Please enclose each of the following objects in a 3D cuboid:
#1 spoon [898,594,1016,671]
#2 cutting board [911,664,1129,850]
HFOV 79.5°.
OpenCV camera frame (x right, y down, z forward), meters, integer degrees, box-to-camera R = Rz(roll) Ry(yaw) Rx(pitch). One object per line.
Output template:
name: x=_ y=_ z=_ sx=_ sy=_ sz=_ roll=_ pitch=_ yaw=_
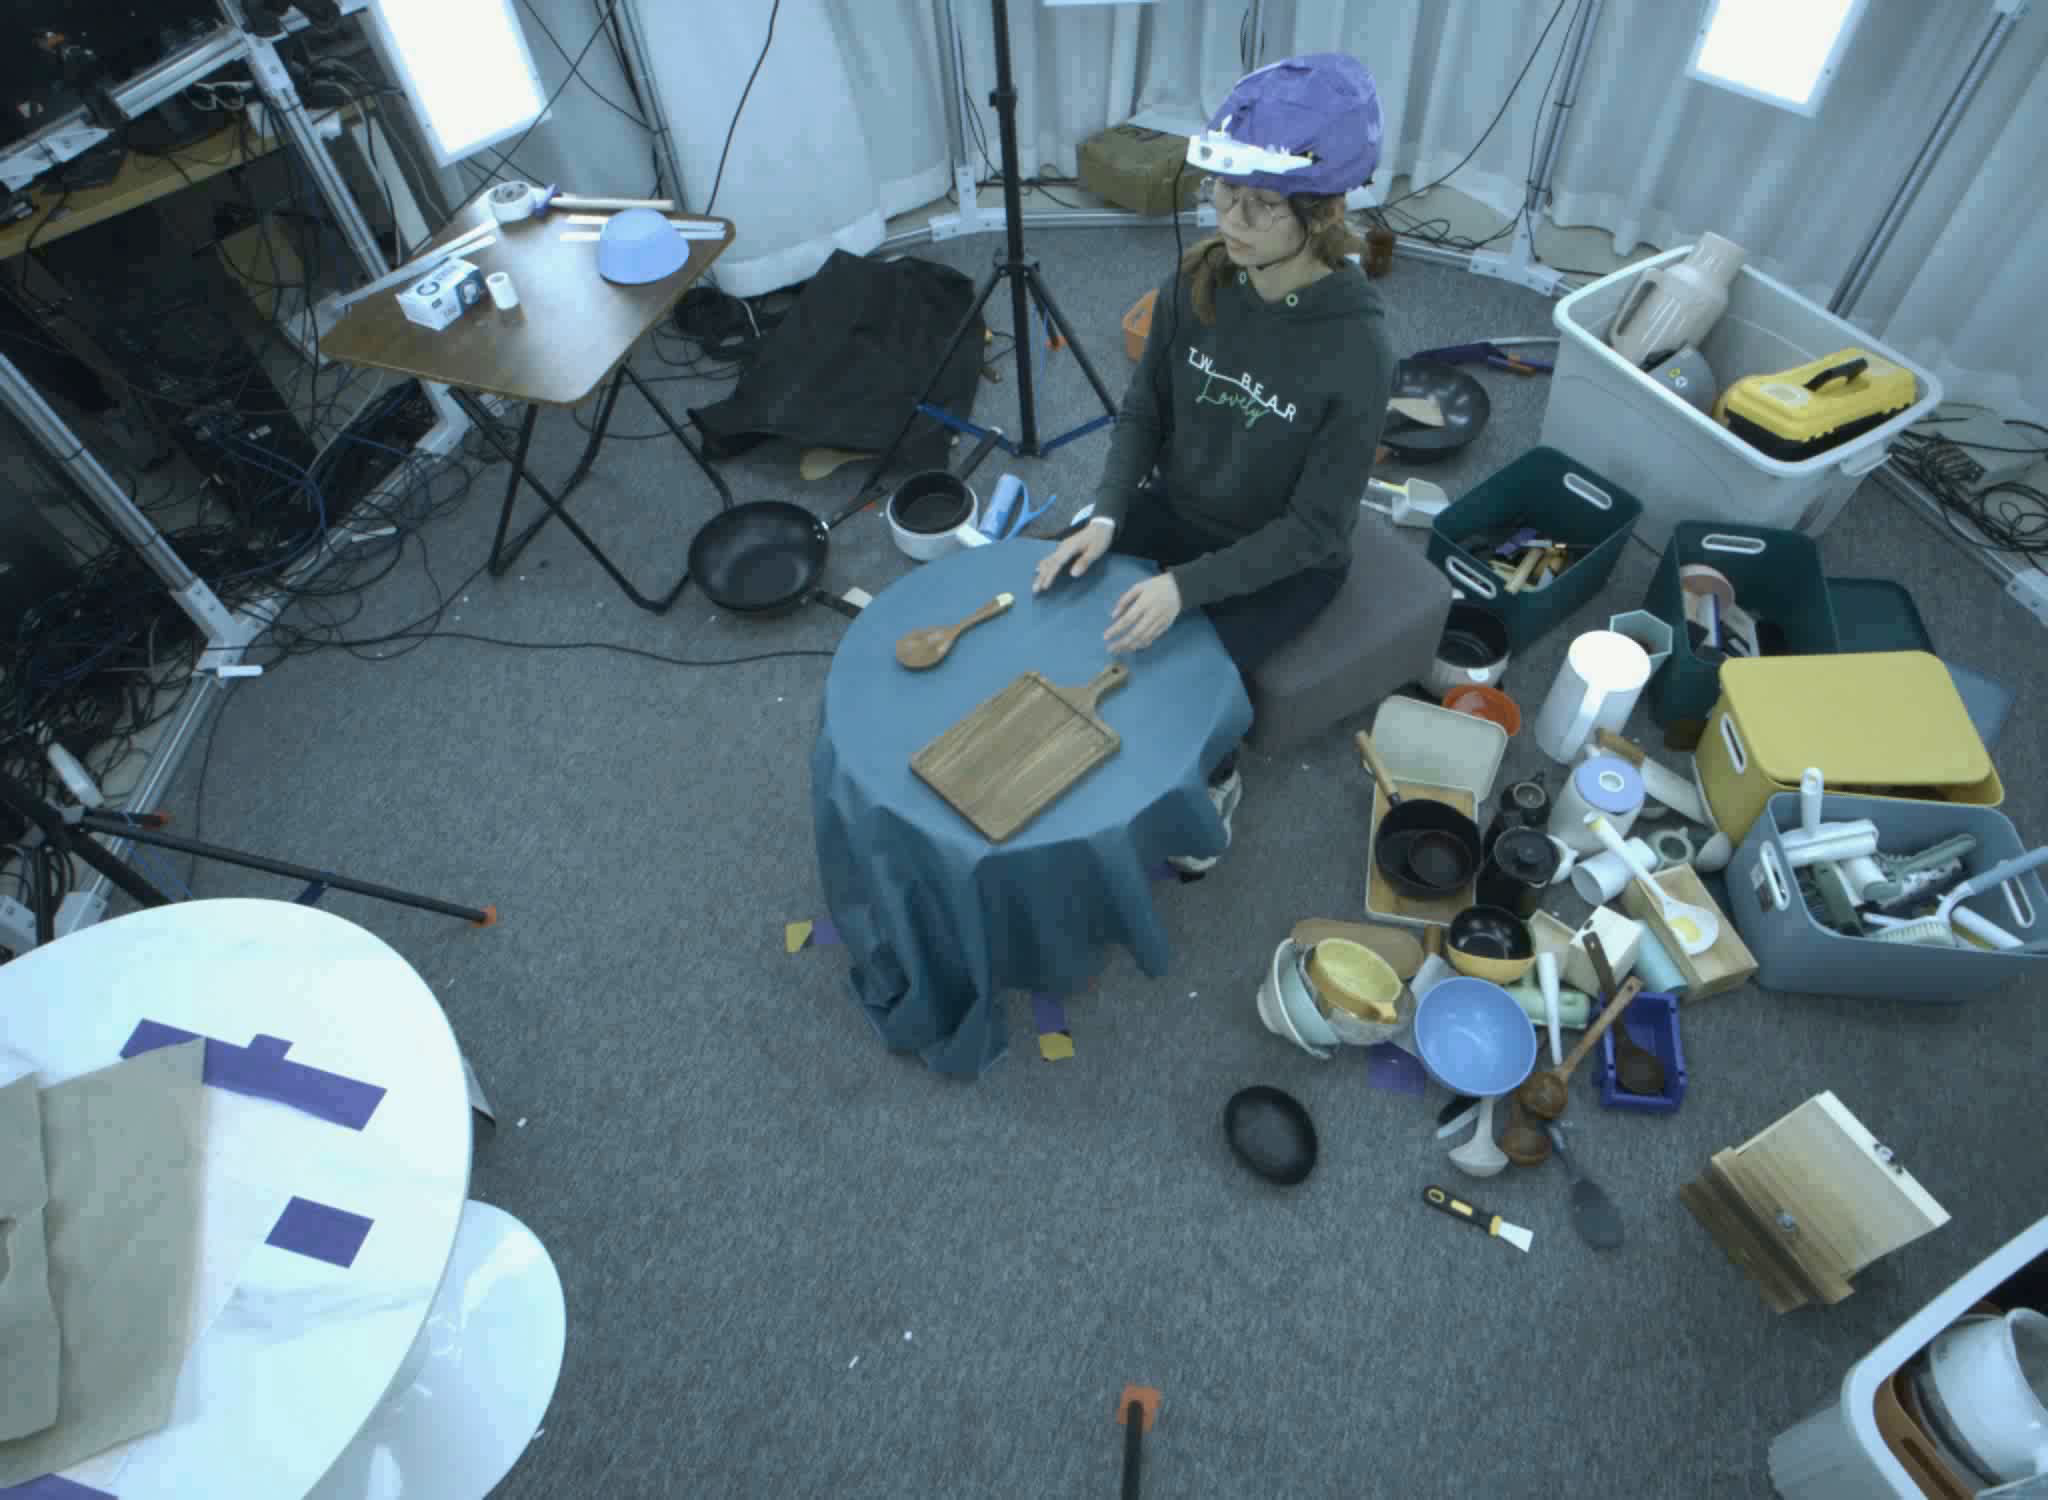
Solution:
spoon: x=-0.102 y=-0.185 z=1.920 sx=0.217 sy=0.017 sz=0.074 roll=-33 pitch=59 yaw=-19
cutting board: x=0.026 y=-0.019 z=1.799 sx=0.354 sy=0.023 sz=0.197 roll=-39 pitch=62 yaw=-23
